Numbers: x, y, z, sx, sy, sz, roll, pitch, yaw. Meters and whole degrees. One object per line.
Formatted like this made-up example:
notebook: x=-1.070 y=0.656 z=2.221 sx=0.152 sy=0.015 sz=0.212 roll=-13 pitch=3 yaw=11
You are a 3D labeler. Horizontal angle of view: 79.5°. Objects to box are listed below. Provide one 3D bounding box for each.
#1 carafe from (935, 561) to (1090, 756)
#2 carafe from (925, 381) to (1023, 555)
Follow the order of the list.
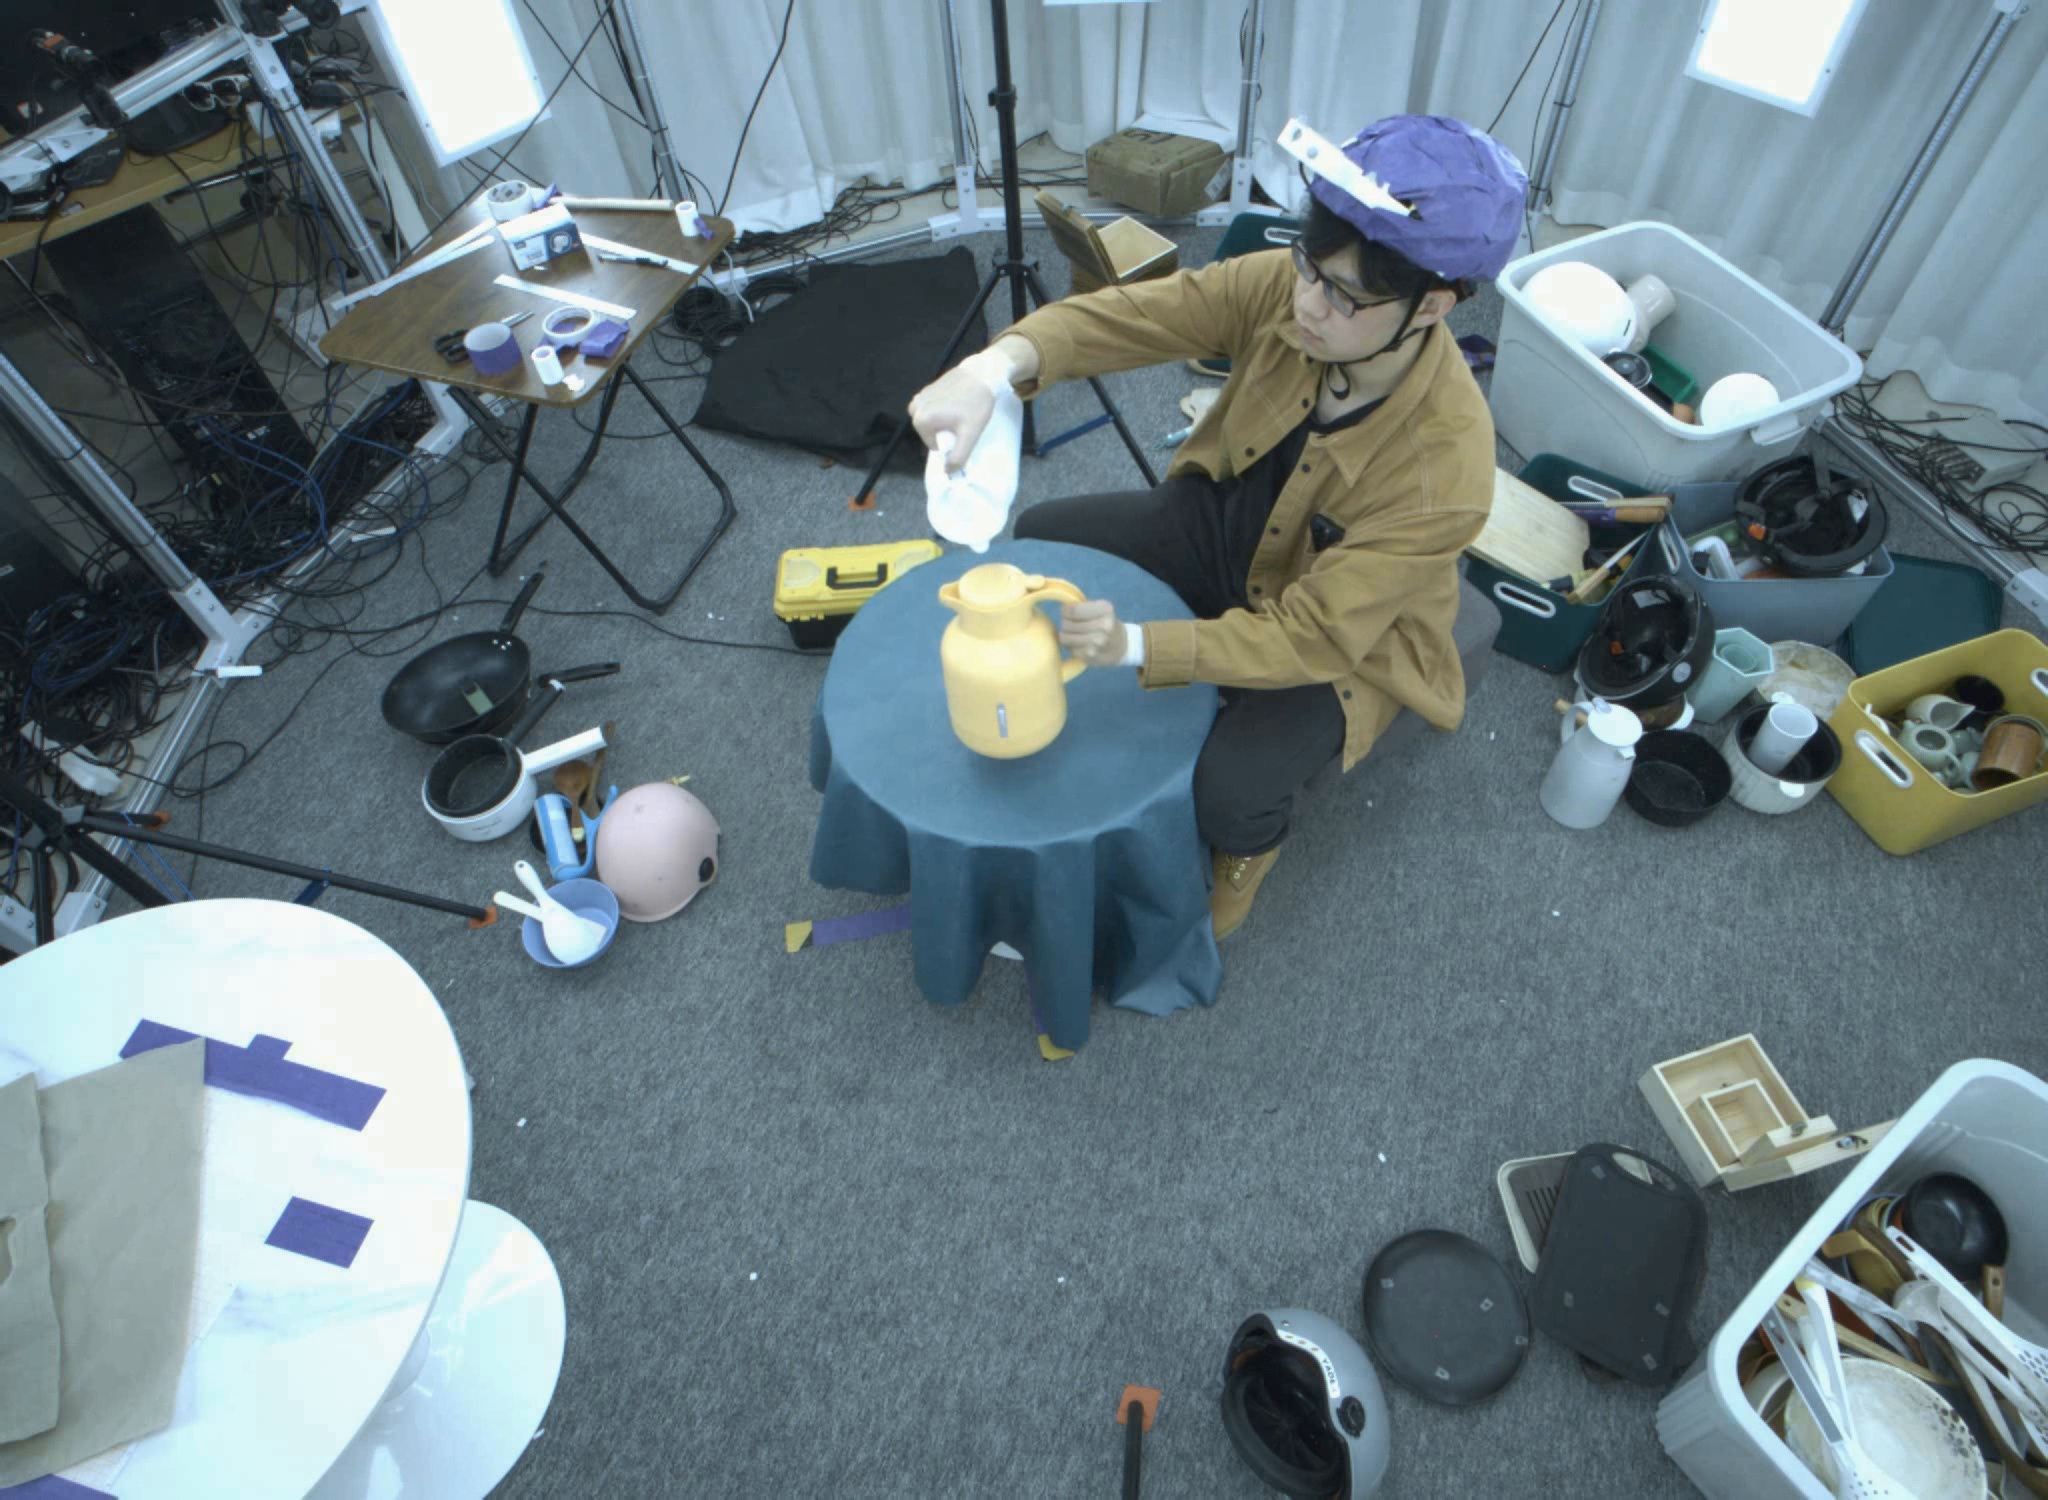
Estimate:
carafe: x=-0.011 y=-0.126 z=1.636 sx=0.202 sy=0.264 sz=0.162 roll=-4 pitch=46 yaw=5
carafe: x=-0.071 y=-0.390 z=1.556 sx=0.123 sy=0.176 sz=0.266 roll=-9 pitch=42 yaw=13
